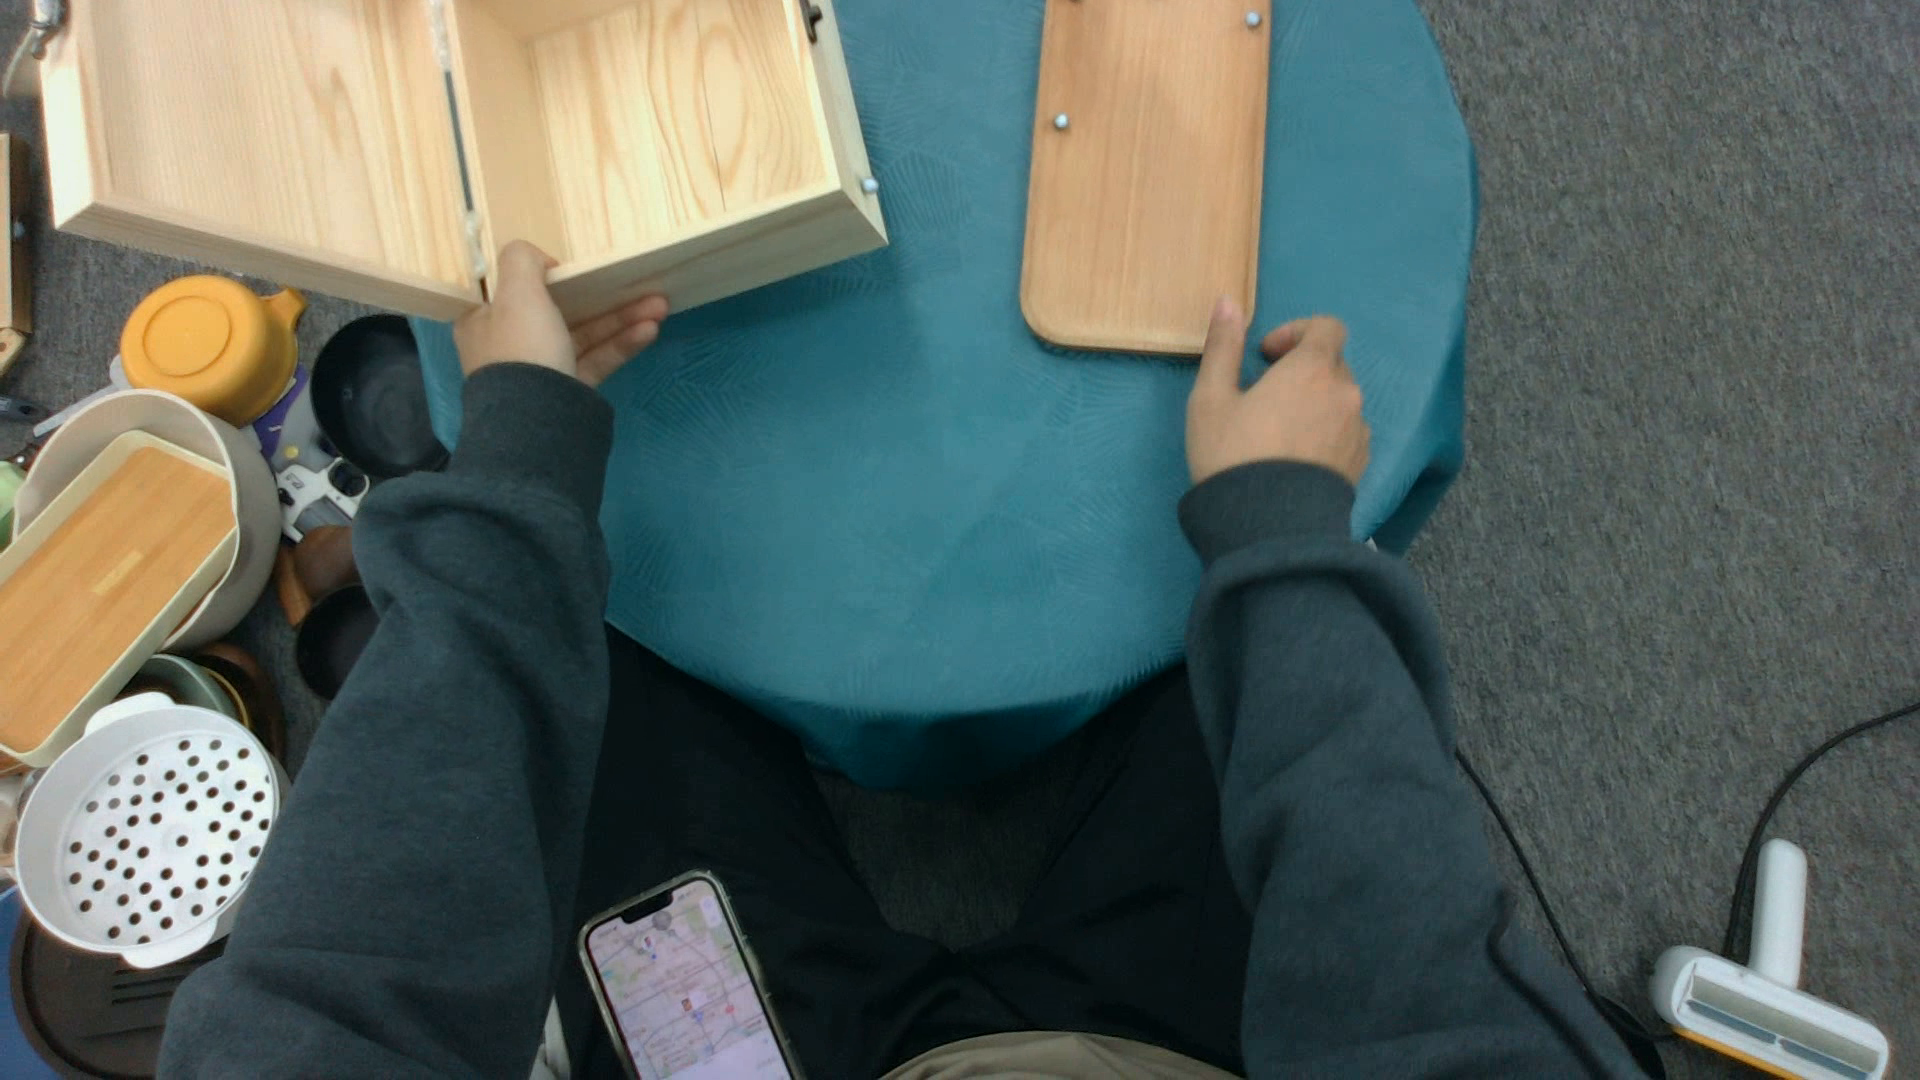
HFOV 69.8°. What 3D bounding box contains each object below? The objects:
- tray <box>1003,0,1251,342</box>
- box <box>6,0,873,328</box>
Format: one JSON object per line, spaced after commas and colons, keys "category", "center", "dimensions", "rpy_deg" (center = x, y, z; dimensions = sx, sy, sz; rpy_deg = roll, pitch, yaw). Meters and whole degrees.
{"category": "tray", "center": [0.095, -0.229, 0.769], "dimensions": [0.130, 0.023, 0.251], "rpy_deg": [4, 77, 6]}
{"category": "box", "center": [-0.209, -0.222, 0.611], "dimensions": [0.265, 0.253, 0.182], "rpy_deg": [-17, 82, 11]}
